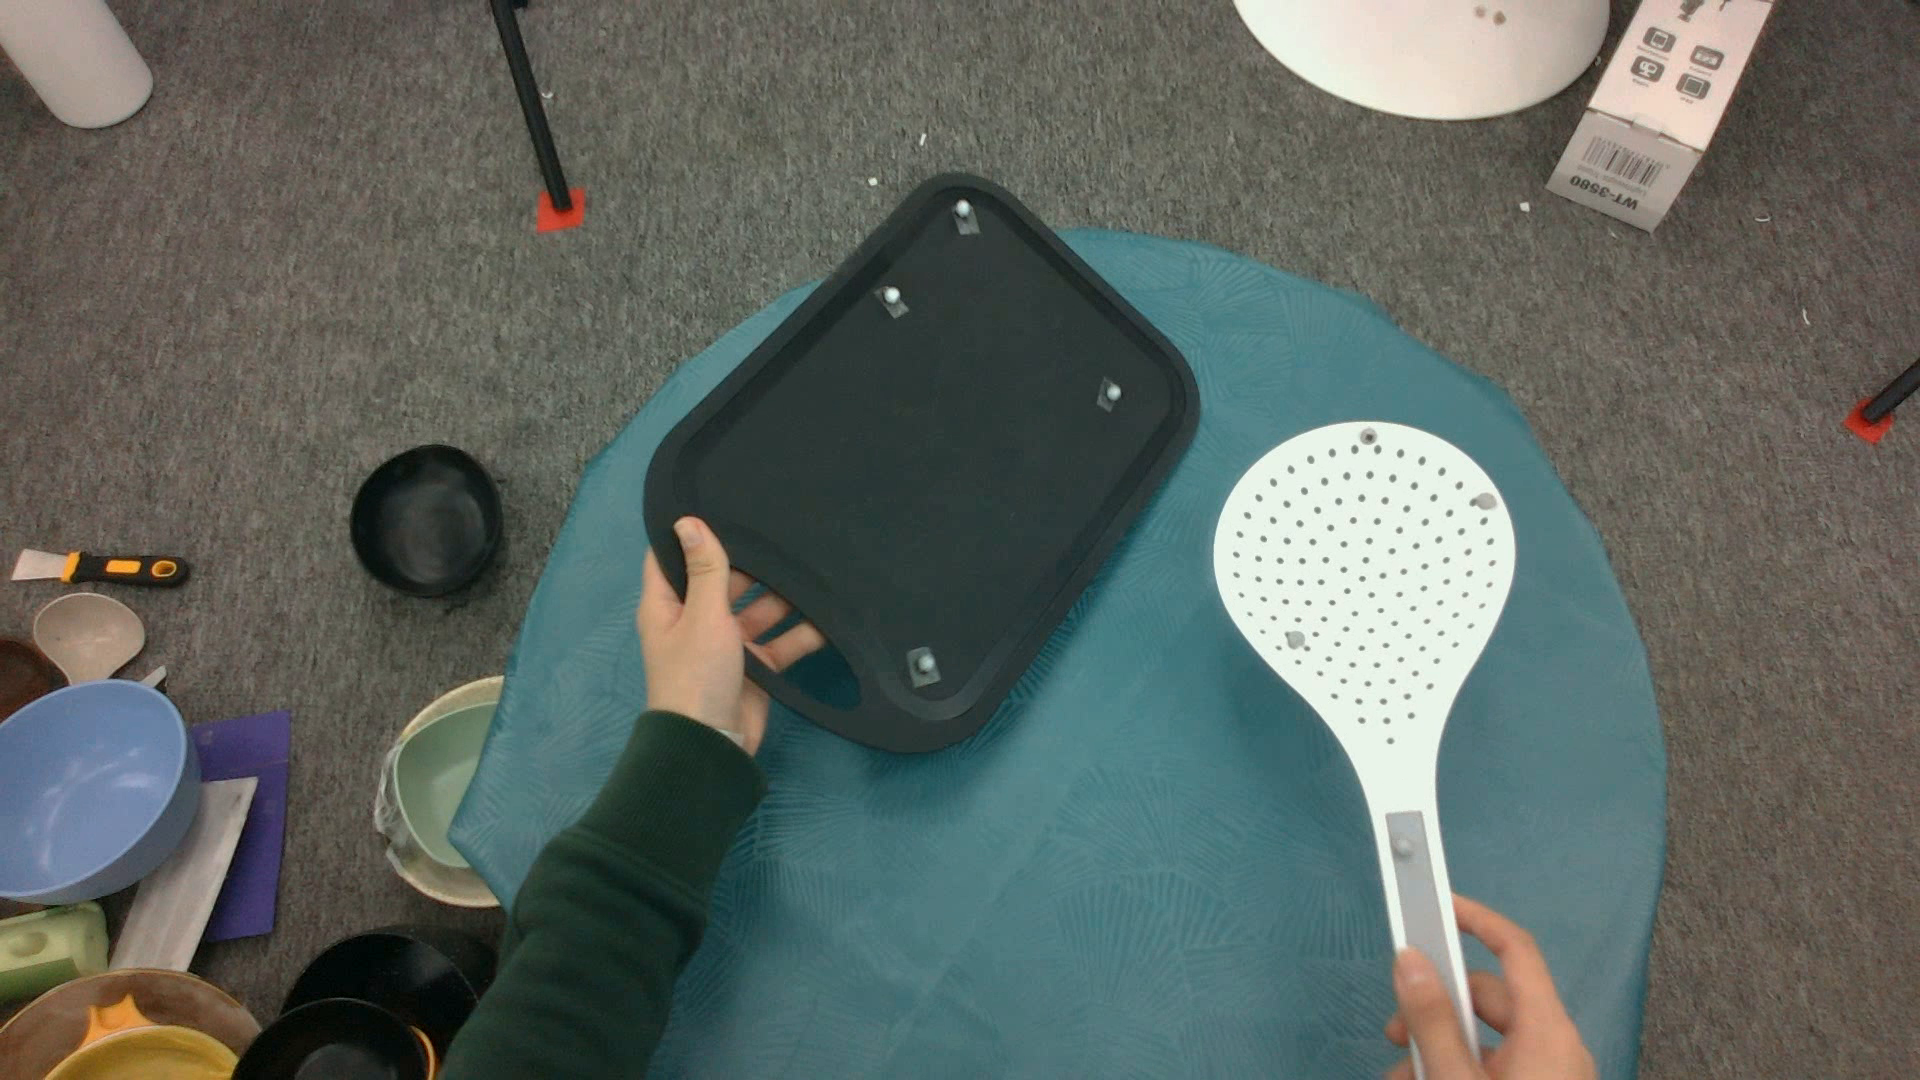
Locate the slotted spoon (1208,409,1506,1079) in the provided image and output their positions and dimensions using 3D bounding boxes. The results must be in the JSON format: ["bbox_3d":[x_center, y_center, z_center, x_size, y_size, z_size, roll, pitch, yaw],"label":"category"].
[{"bbox_3d":[0.192,0.101,0.606,0.136,0.045,0.351,-11,60,17],"label":"slotted spoon"}]

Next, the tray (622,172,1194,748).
[{"bbox_3d":[-0.015,-0.050,0.709,0.211,0.010,0.327,43,59,-4],"label":"tray"}]
